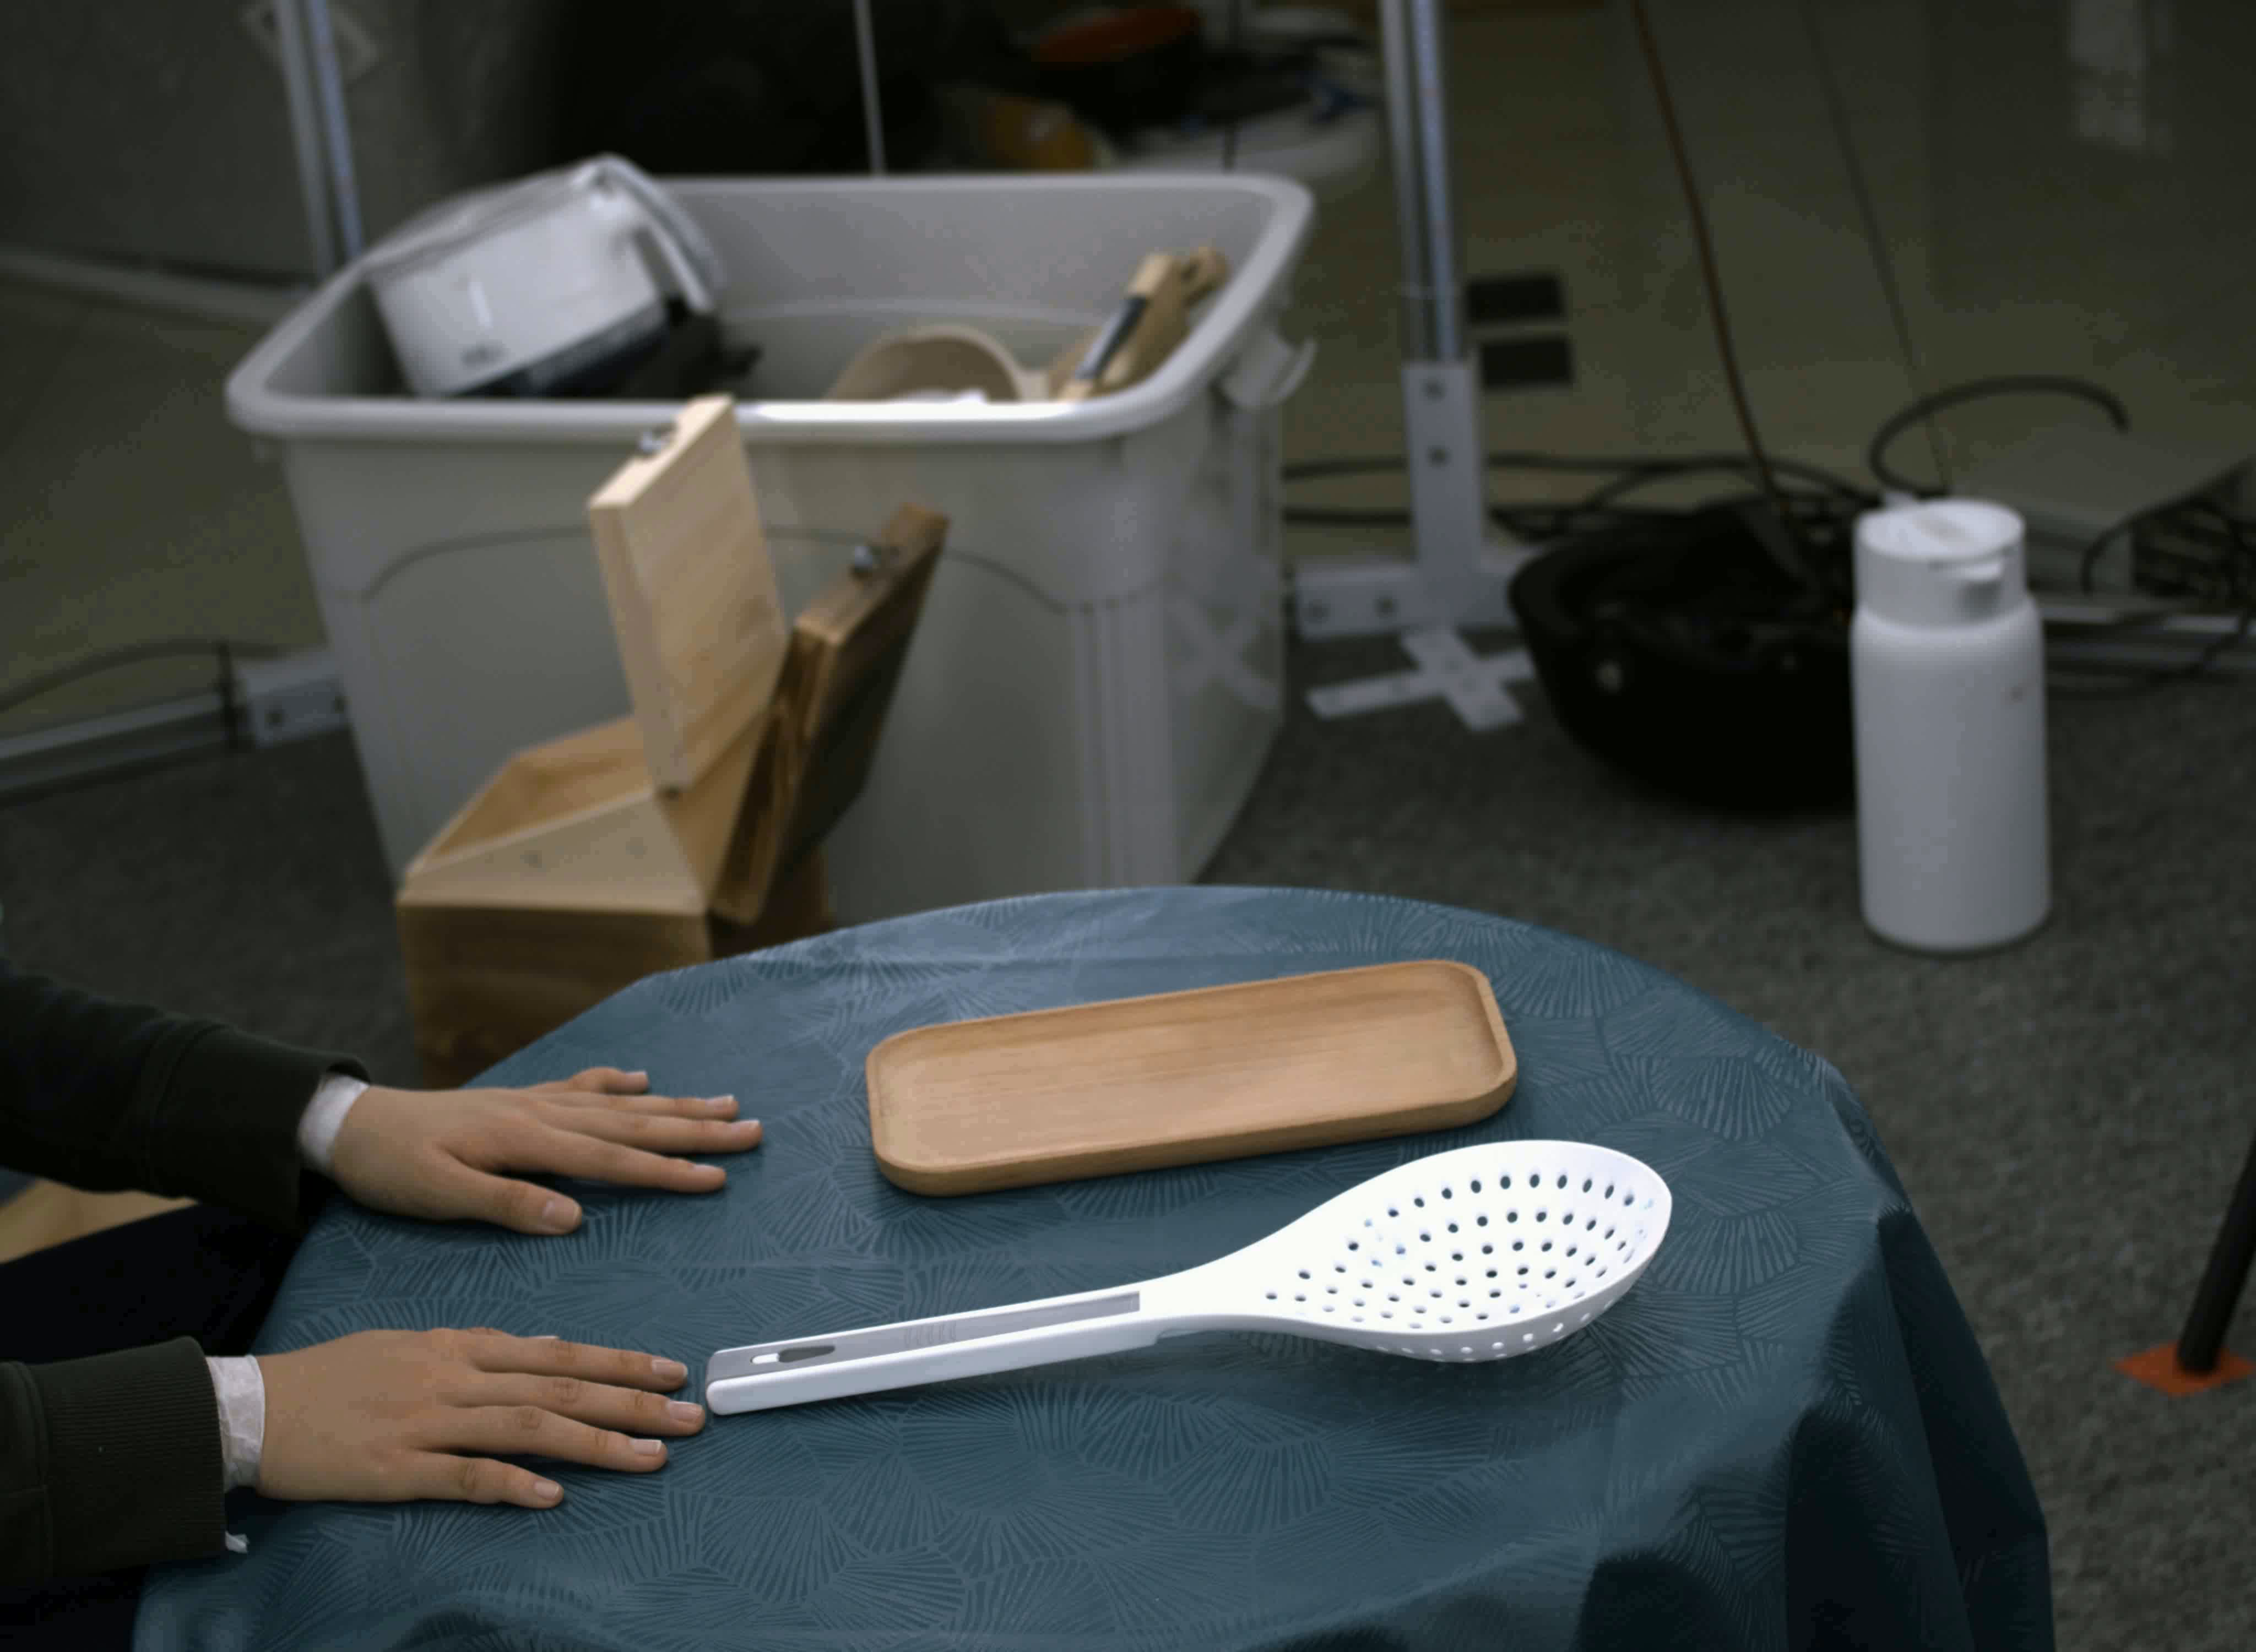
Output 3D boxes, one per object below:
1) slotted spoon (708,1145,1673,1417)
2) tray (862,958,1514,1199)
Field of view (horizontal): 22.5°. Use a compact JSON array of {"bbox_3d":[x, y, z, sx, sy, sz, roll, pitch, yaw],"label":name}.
[{"bbox_3d":[0.021,0.171,2.024,0.349,0.046,0.134,-6,23,3],"label":"slotted spoon"},{"bbox_3d":[0.022,0.099,2.214,0.250,0.023,0.129,-8,23,-1],"label":"tray"}]
